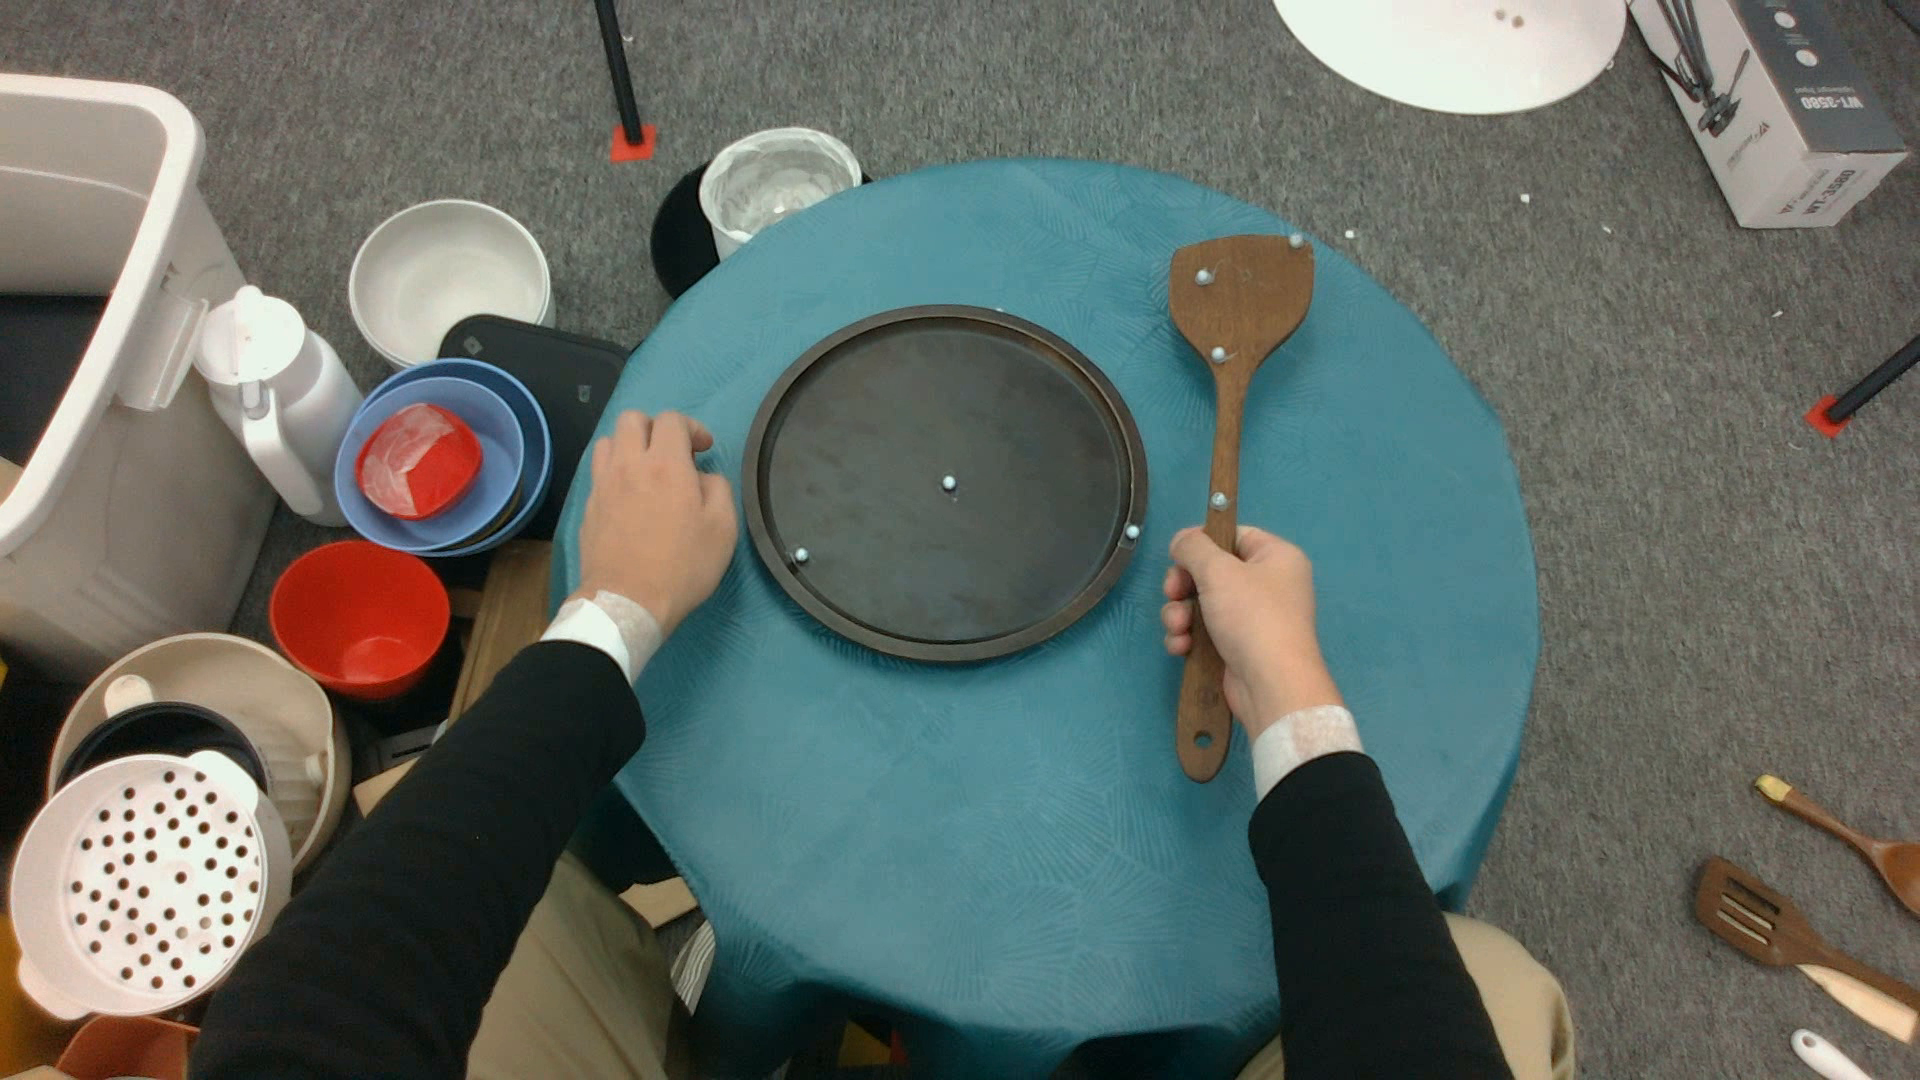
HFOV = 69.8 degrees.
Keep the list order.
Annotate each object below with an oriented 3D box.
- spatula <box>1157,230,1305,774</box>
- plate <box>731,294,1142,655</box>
[{"bbox_3d":[0.154,-0.042,0.827,0.096,0.016,0.387,0,58,16],"label":"spatula"},{"bbox_3d":[-0.014,-0.046,0.855,0.255,0.029,0.255,2,64,-4],"label":"plate"}]
